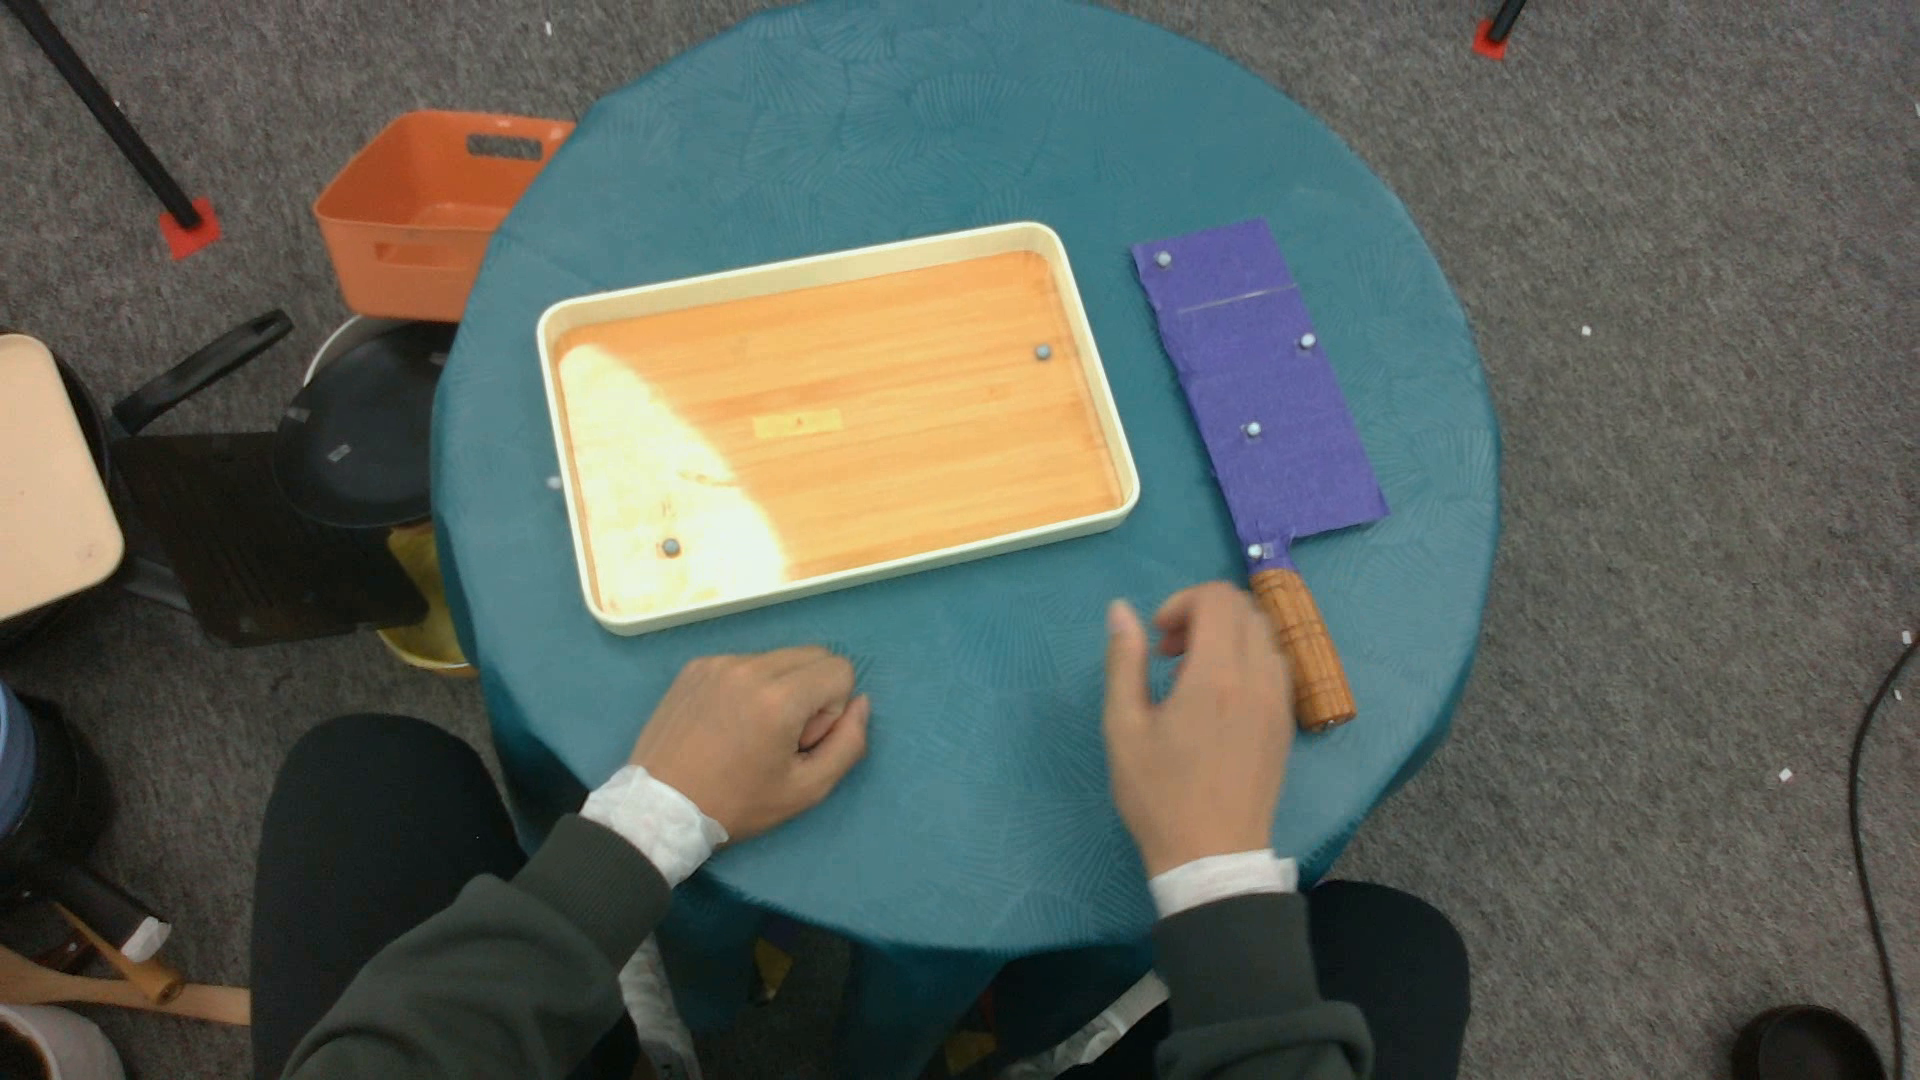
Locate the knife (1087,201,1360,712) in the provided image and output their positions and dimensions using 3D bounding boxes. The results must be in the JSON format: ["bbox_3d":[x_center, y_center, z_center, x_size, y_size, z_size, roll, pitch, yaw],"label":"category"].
[{"bbox_3d":[0.170,-0.062,0.781,0.104,0.032,0.316,-14,71,-11],"label":"knife"}]

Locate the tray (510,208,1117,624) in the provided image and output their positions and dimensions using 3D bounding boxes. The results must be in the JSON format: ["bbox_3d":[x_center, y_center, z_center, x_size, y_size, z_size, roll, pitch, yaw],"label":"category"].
[{"bbox_3d":[-0.079,-0.075,0.756,0.301,0.027,0.192,-13,71,-11],"label":"tray"}]
